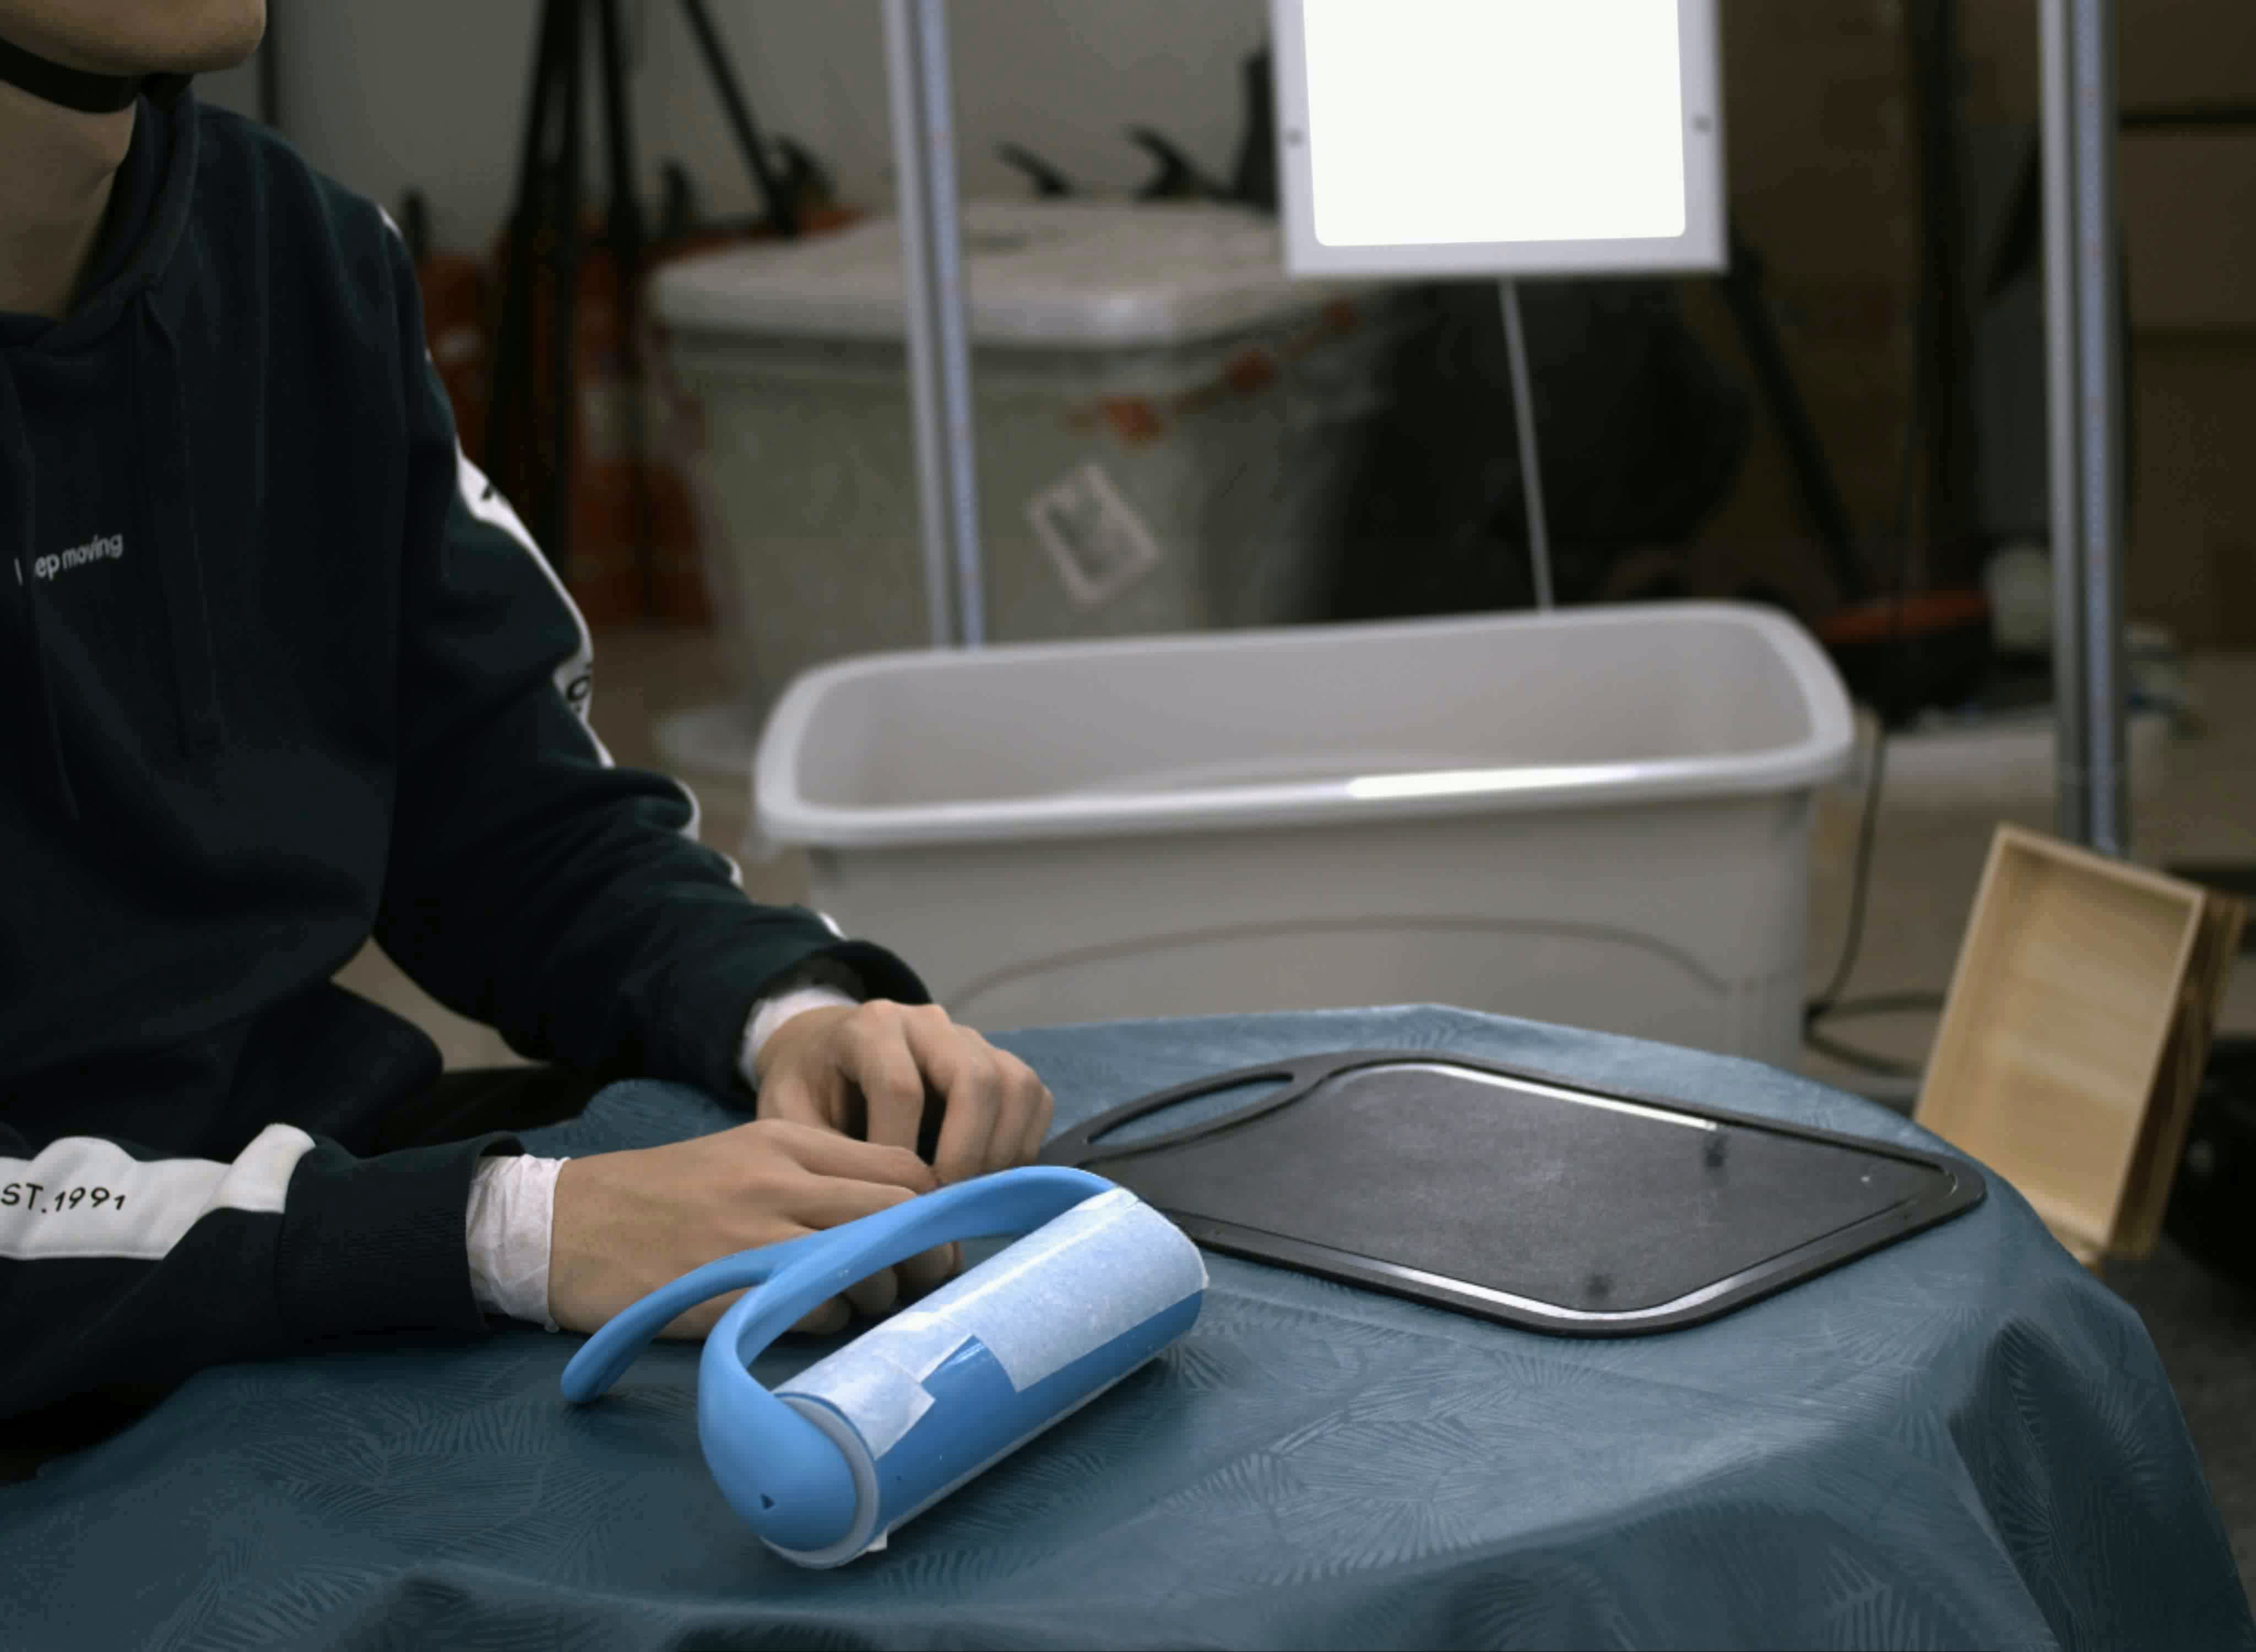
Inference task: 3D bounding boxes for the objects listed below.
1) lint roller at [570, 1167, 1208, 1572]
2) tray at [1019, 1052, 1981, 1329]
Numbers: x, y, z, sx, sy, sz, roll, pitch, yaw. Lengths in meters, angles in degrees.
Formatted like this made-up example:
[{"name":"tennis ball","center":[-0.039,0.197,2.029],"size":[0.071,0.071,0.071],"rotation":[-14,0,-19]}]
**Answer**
[{"name":"lint roller","center":[-0.097,0.159,1.679],"size":[0.183,0.068,0.224],"rotation":[4,18,28]},{"name":"tray","center":[0.117,0.118,1.871],"size":[0.206,0.010,0.332],"rotation":[-17,18,-39]}]
